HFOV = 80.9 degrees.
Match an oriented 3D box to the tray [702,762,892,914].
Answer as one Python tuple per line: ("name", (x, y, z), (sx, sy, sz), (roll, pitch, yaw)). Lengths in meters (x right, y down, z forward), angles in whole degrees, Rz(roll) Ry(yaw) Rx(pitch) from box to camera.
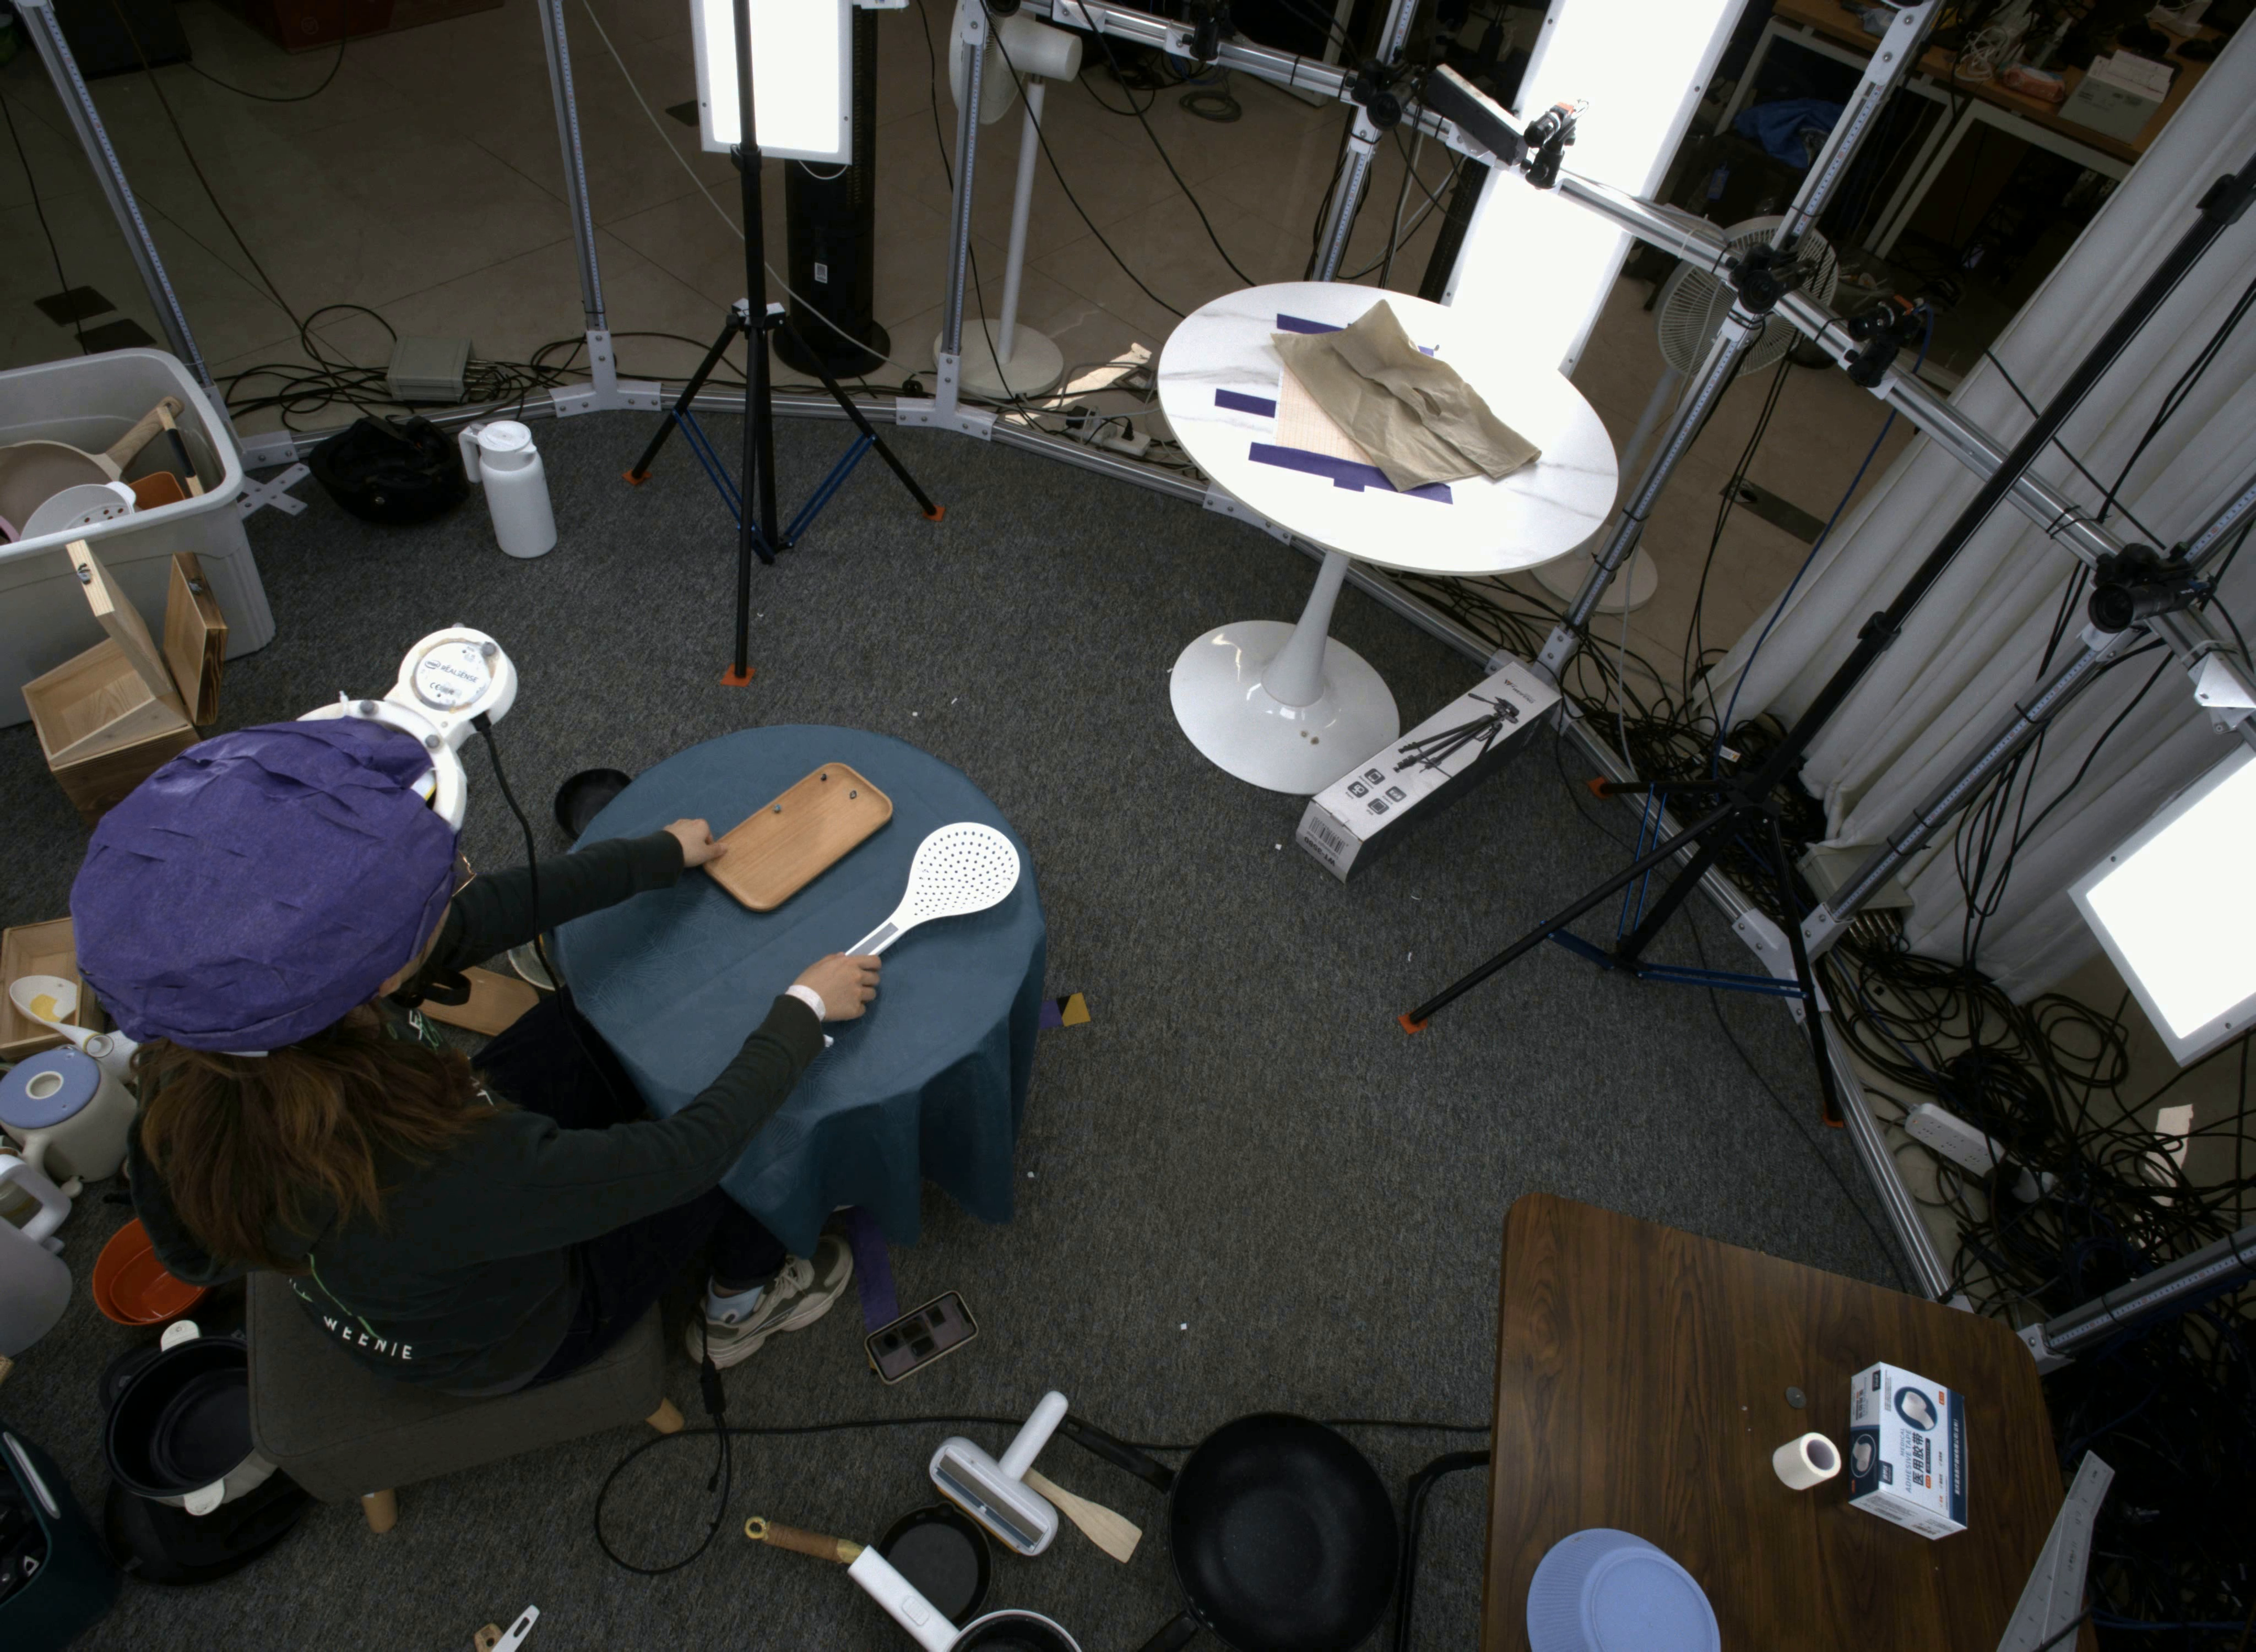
("tray", (-0.433, 0.012, 1.707), (0.127, 0.023, 0.251), (37, 55, 16))

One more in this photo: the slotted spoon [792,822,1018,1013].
("slotted spoon", (-0.283, 0.116, 1.650), (0.133, 0.047, 0.350), (39, 55, 18))
